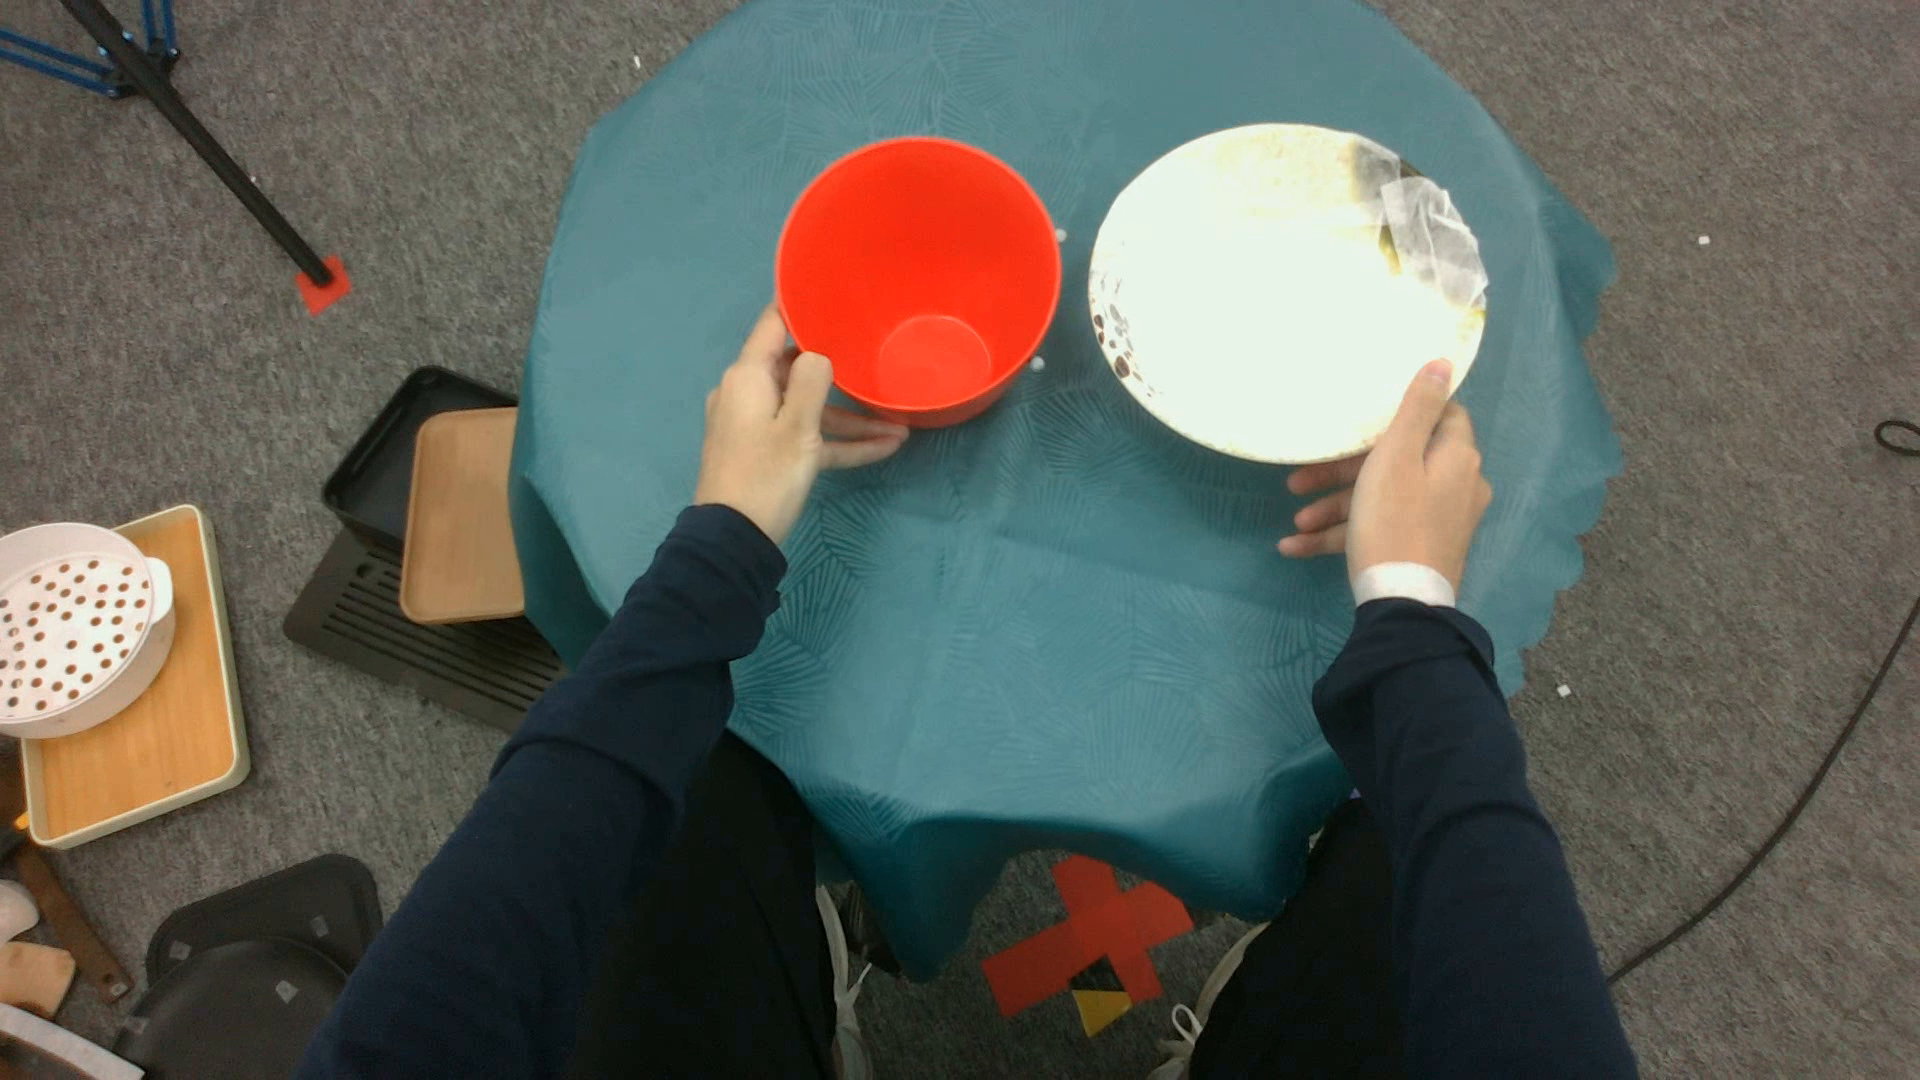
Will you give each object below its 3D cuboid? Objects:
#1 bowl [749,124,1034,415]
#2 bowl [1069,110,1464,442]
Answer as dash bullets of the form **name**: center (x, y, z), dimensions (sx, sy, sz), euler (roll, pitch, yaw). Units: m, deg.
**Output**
- **bowl**: center (-0.034, -0.133, 0.749), dimensions (0.148, 0.104, 0.148), euler (0, 71, 2)
- **bowl**: center (0.161, -0.130, 0.752), dimensions (0.204, 0.077, 0.204), euler (-1, 67, 3)
